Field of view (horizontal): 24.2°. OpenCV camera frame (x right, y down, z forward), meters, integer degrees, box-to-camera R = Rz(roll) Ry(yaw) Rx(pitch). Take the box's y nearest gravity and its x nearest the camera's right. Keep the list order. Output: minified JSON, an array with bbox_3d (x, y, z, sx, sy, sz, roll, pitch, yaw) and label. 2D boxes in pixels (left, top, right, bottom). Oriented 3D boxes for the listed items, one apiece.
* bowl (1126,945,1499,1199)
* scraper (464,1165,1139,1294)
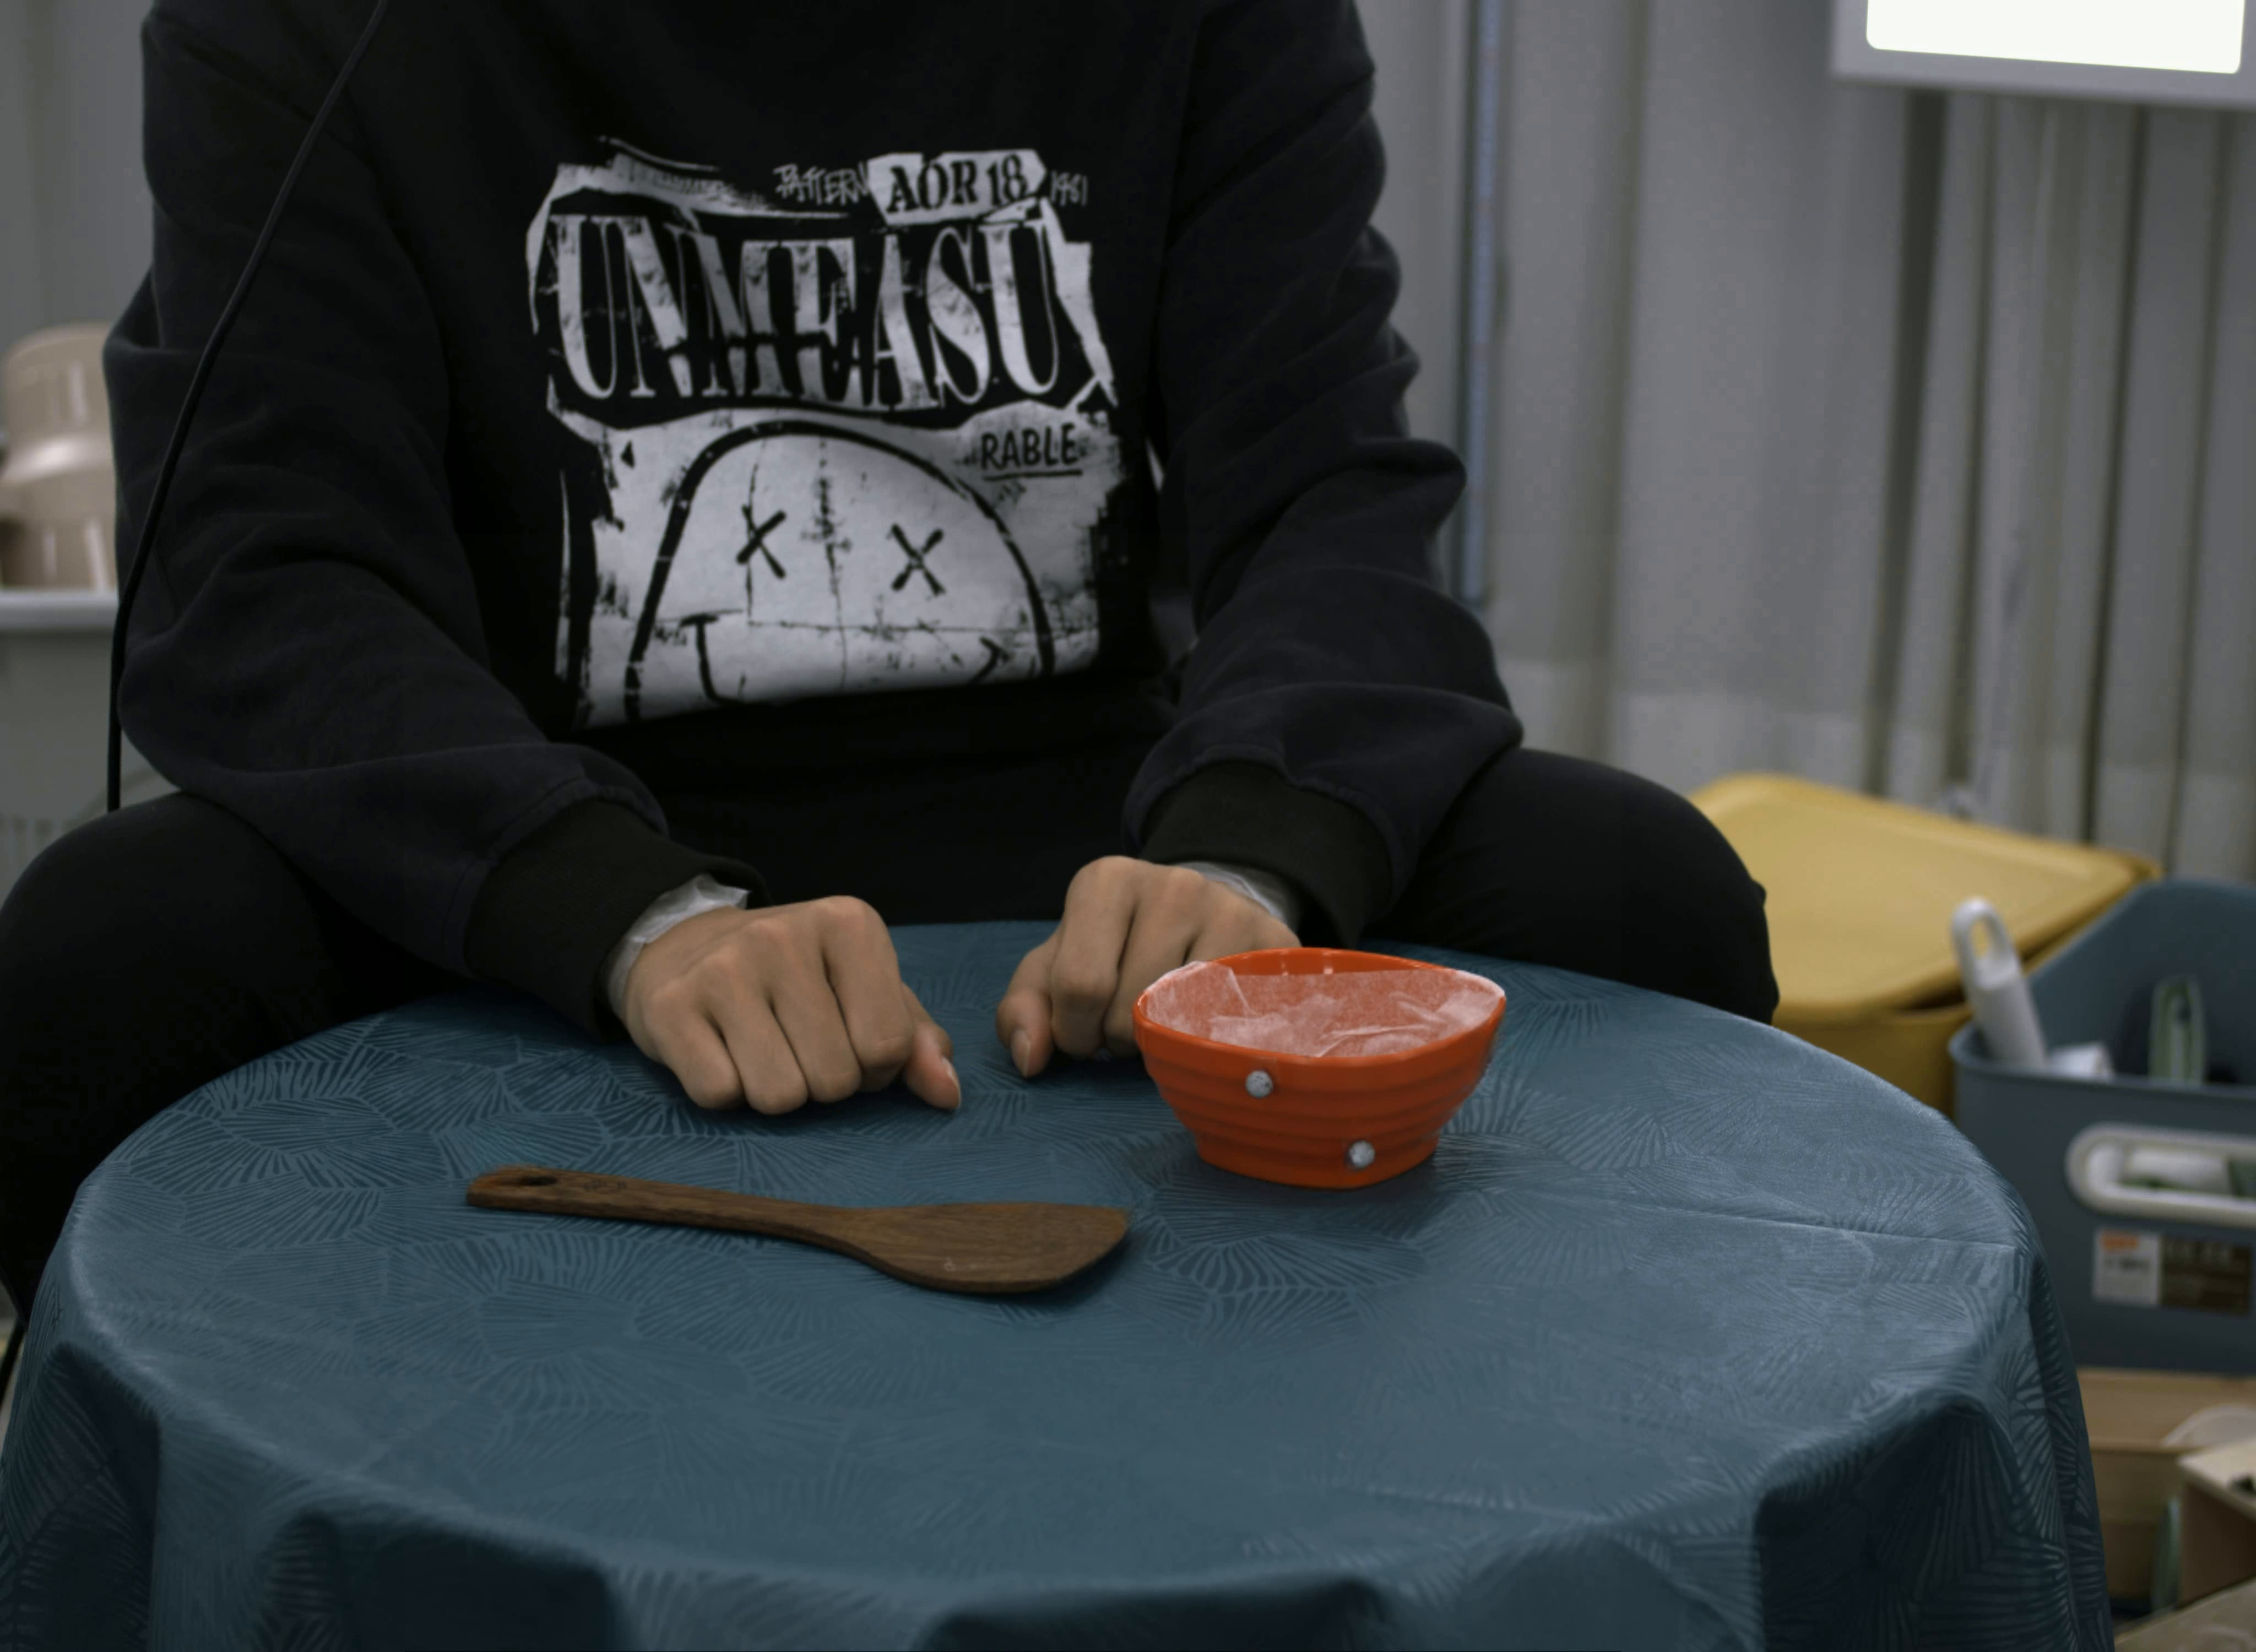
[{"bbox_3d":[0.058,0.080,1.660,0.118,0.052,0.118,0,19,1],"label":"bowl"},{"bbox_3d":[-0.102,0.118,1.587,0.209,0.011,0.076,5,15,18],"label":"scraper"}]
